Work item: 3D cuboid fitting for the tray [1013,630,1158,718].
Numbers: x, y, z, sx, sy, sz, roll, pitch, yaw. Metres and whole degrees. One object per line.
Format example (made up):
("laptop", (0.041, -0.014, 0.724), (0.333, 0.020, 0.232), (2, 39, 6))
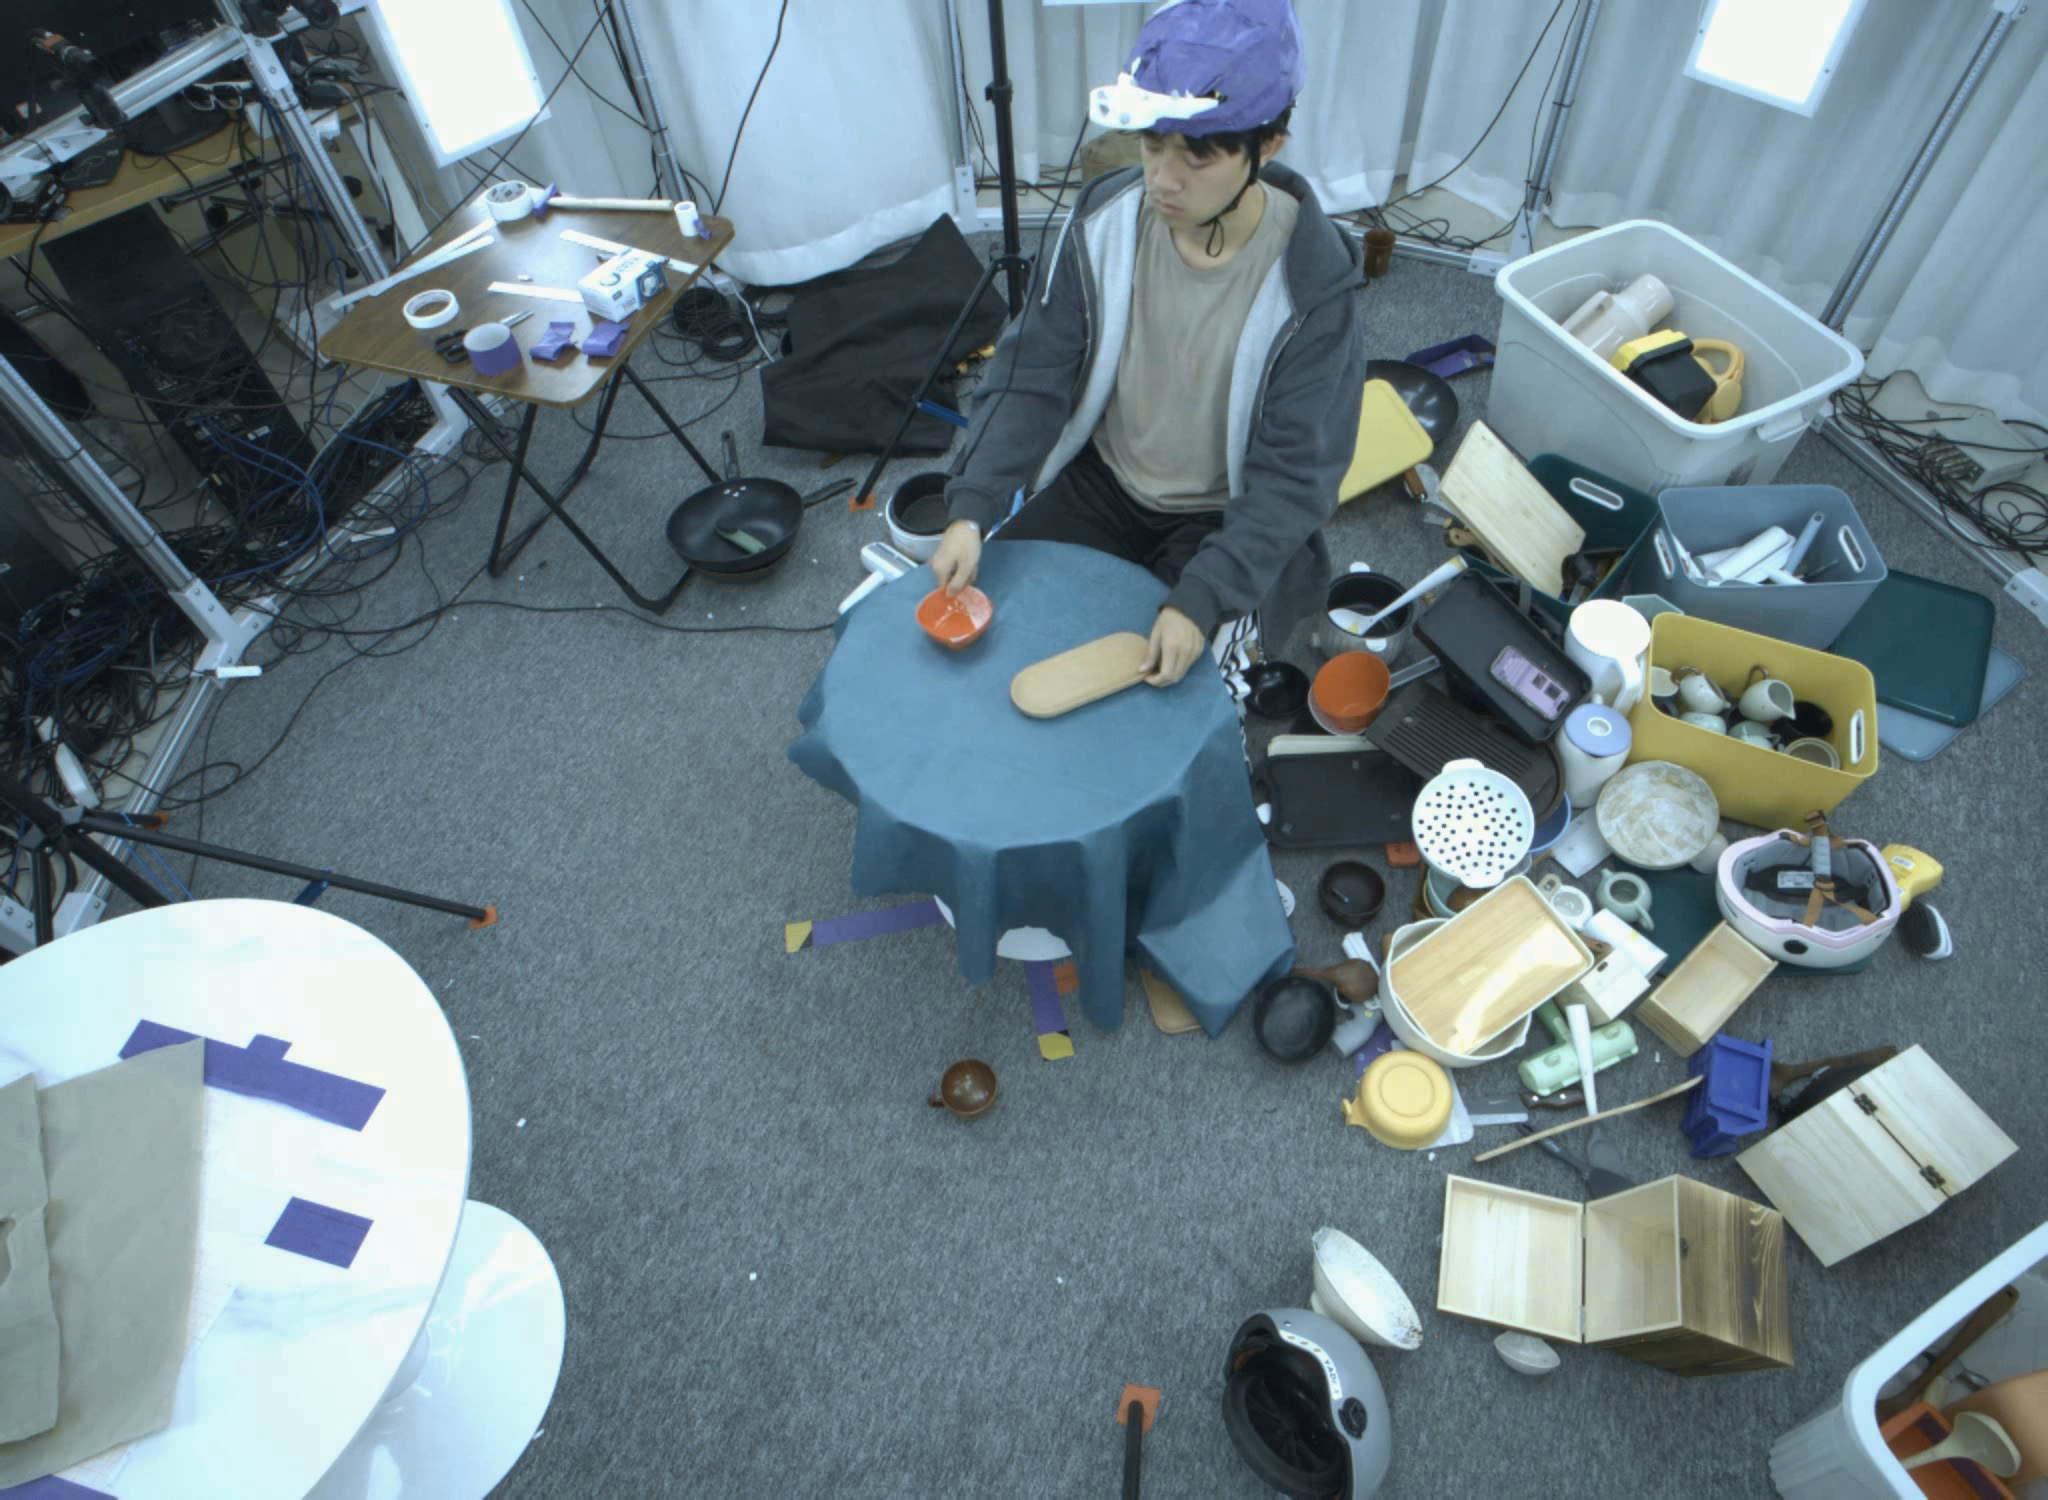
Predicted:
("tray", (0.093, -0.115, 1.855), (0.233, 0.020, 0.100), (-23, 55, -14))

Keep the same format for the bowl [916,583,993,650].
("bowl", (-0.105, -0.200, 1.903), (0.119, 0.052, 0.117), (-1, 55, 3))
